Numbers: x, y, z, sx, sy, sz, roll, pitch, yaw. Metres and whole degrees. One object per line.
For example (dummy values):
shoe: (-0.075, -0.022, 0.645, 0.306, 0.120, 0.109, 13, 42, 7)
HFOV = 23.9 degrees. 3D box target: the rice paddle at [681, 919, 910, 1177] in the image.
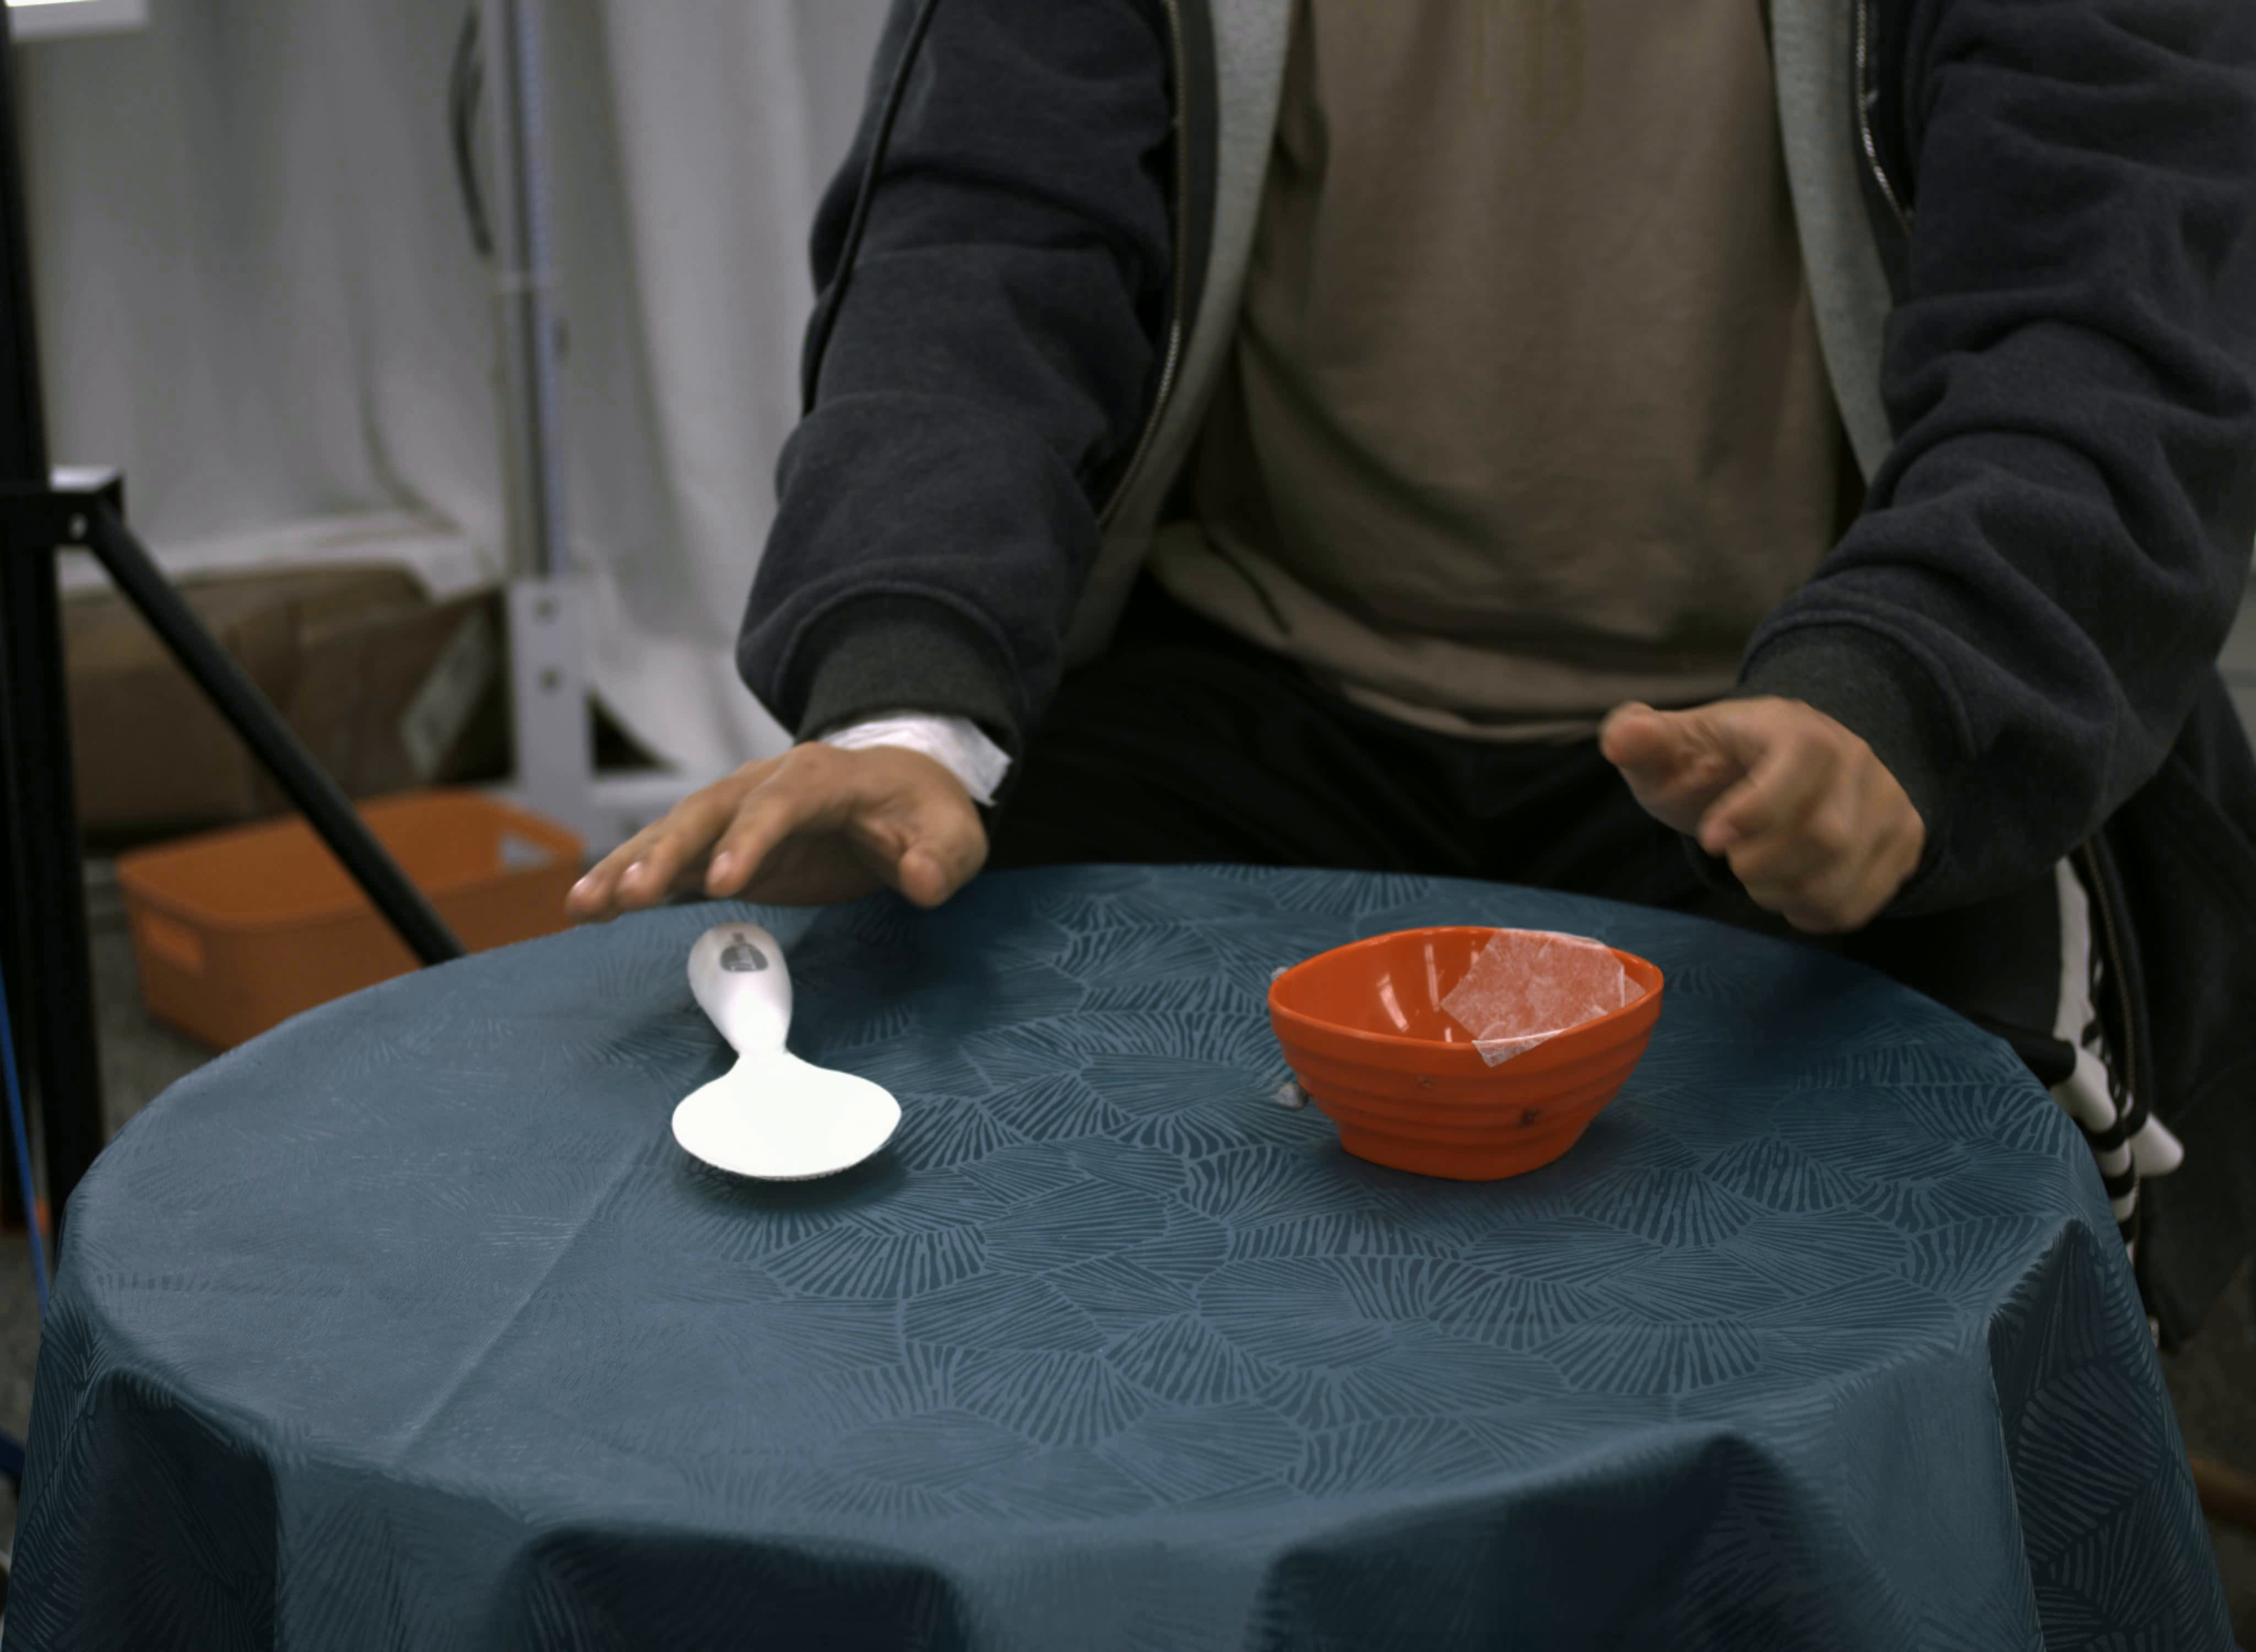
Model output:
rice paddle: (-0.110, 0.071, 1.653, 0.068, 0.029, 0.207, -7, 16, -9)

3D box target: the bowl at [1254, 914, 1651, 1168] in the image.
bowl: (0.098, 0.067, 1.584, 0.118, 0.051, 0.119, -4, 15, 0)
